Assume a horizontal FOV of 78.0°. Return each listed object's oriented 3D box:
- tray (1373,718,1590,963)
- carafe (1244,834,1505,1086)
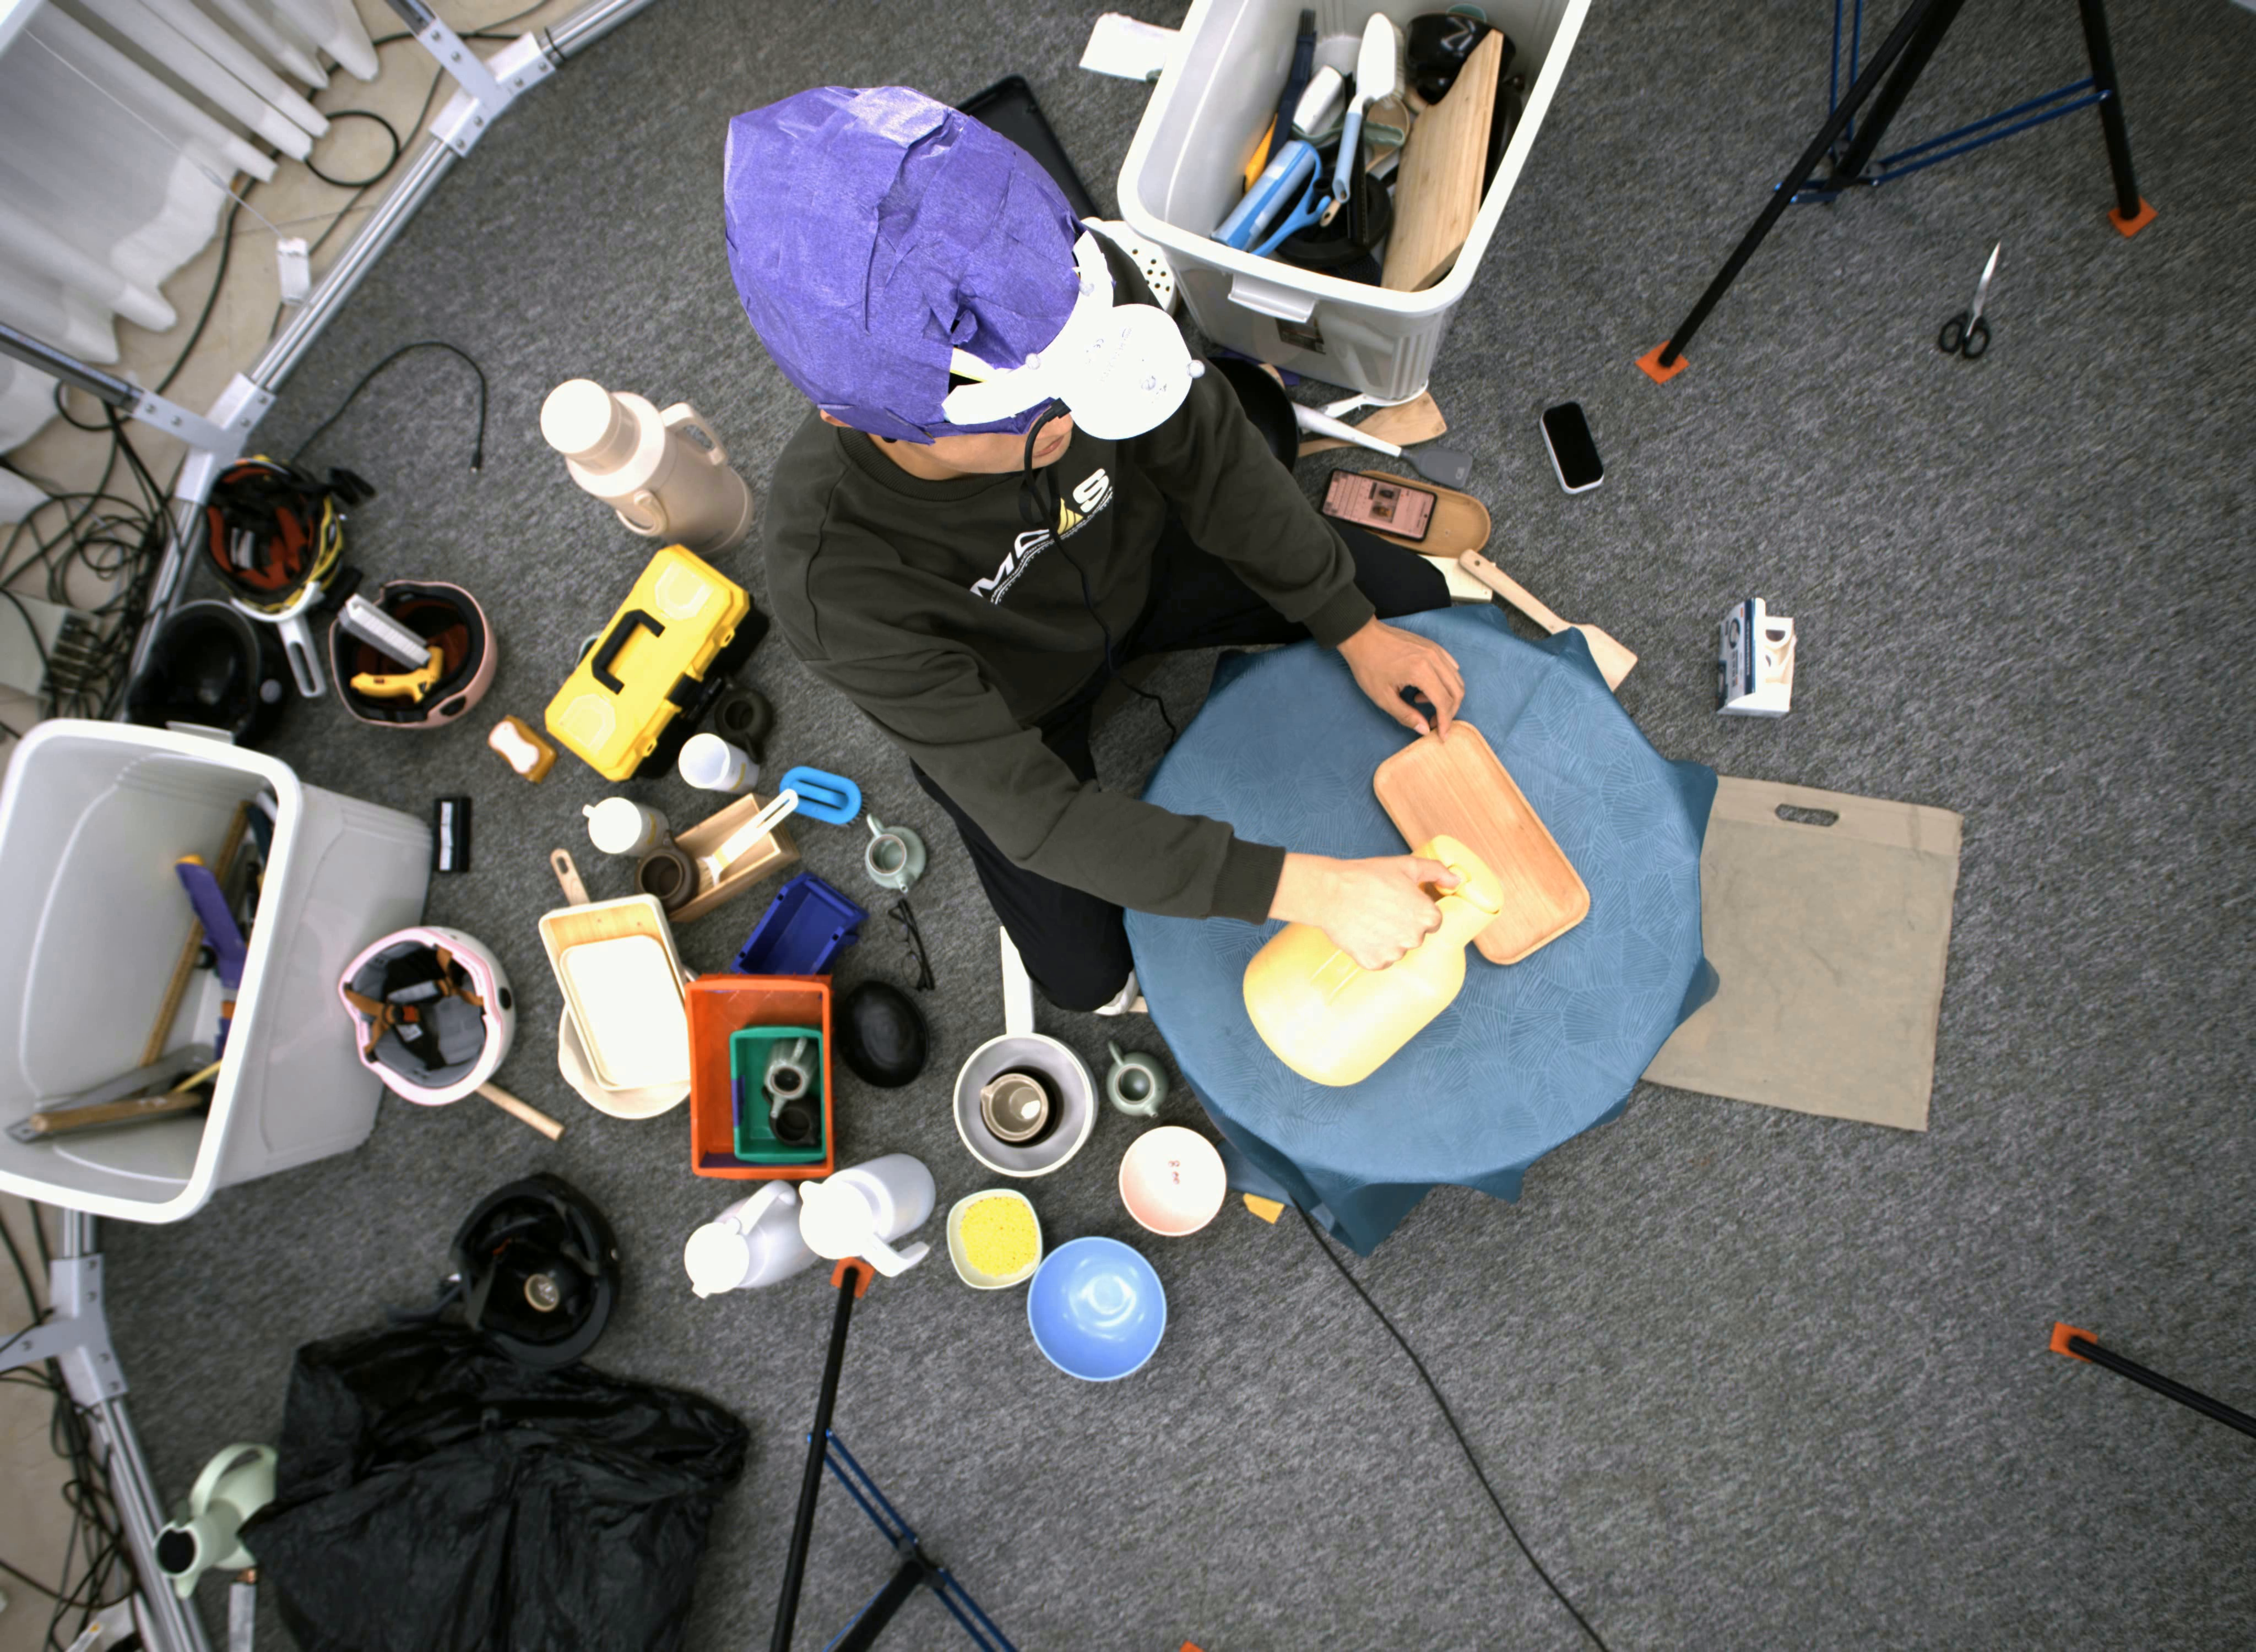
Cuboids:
[{"bbox_3d":[0.367,0.012,1.436,0.131,0.023,0.249,-32,81,5],"label":"tray"},{"bbox_3d":[0.232,0.120,1.316,0.162,0.200,0.265,50,117,18],"label":"carafe"}]
